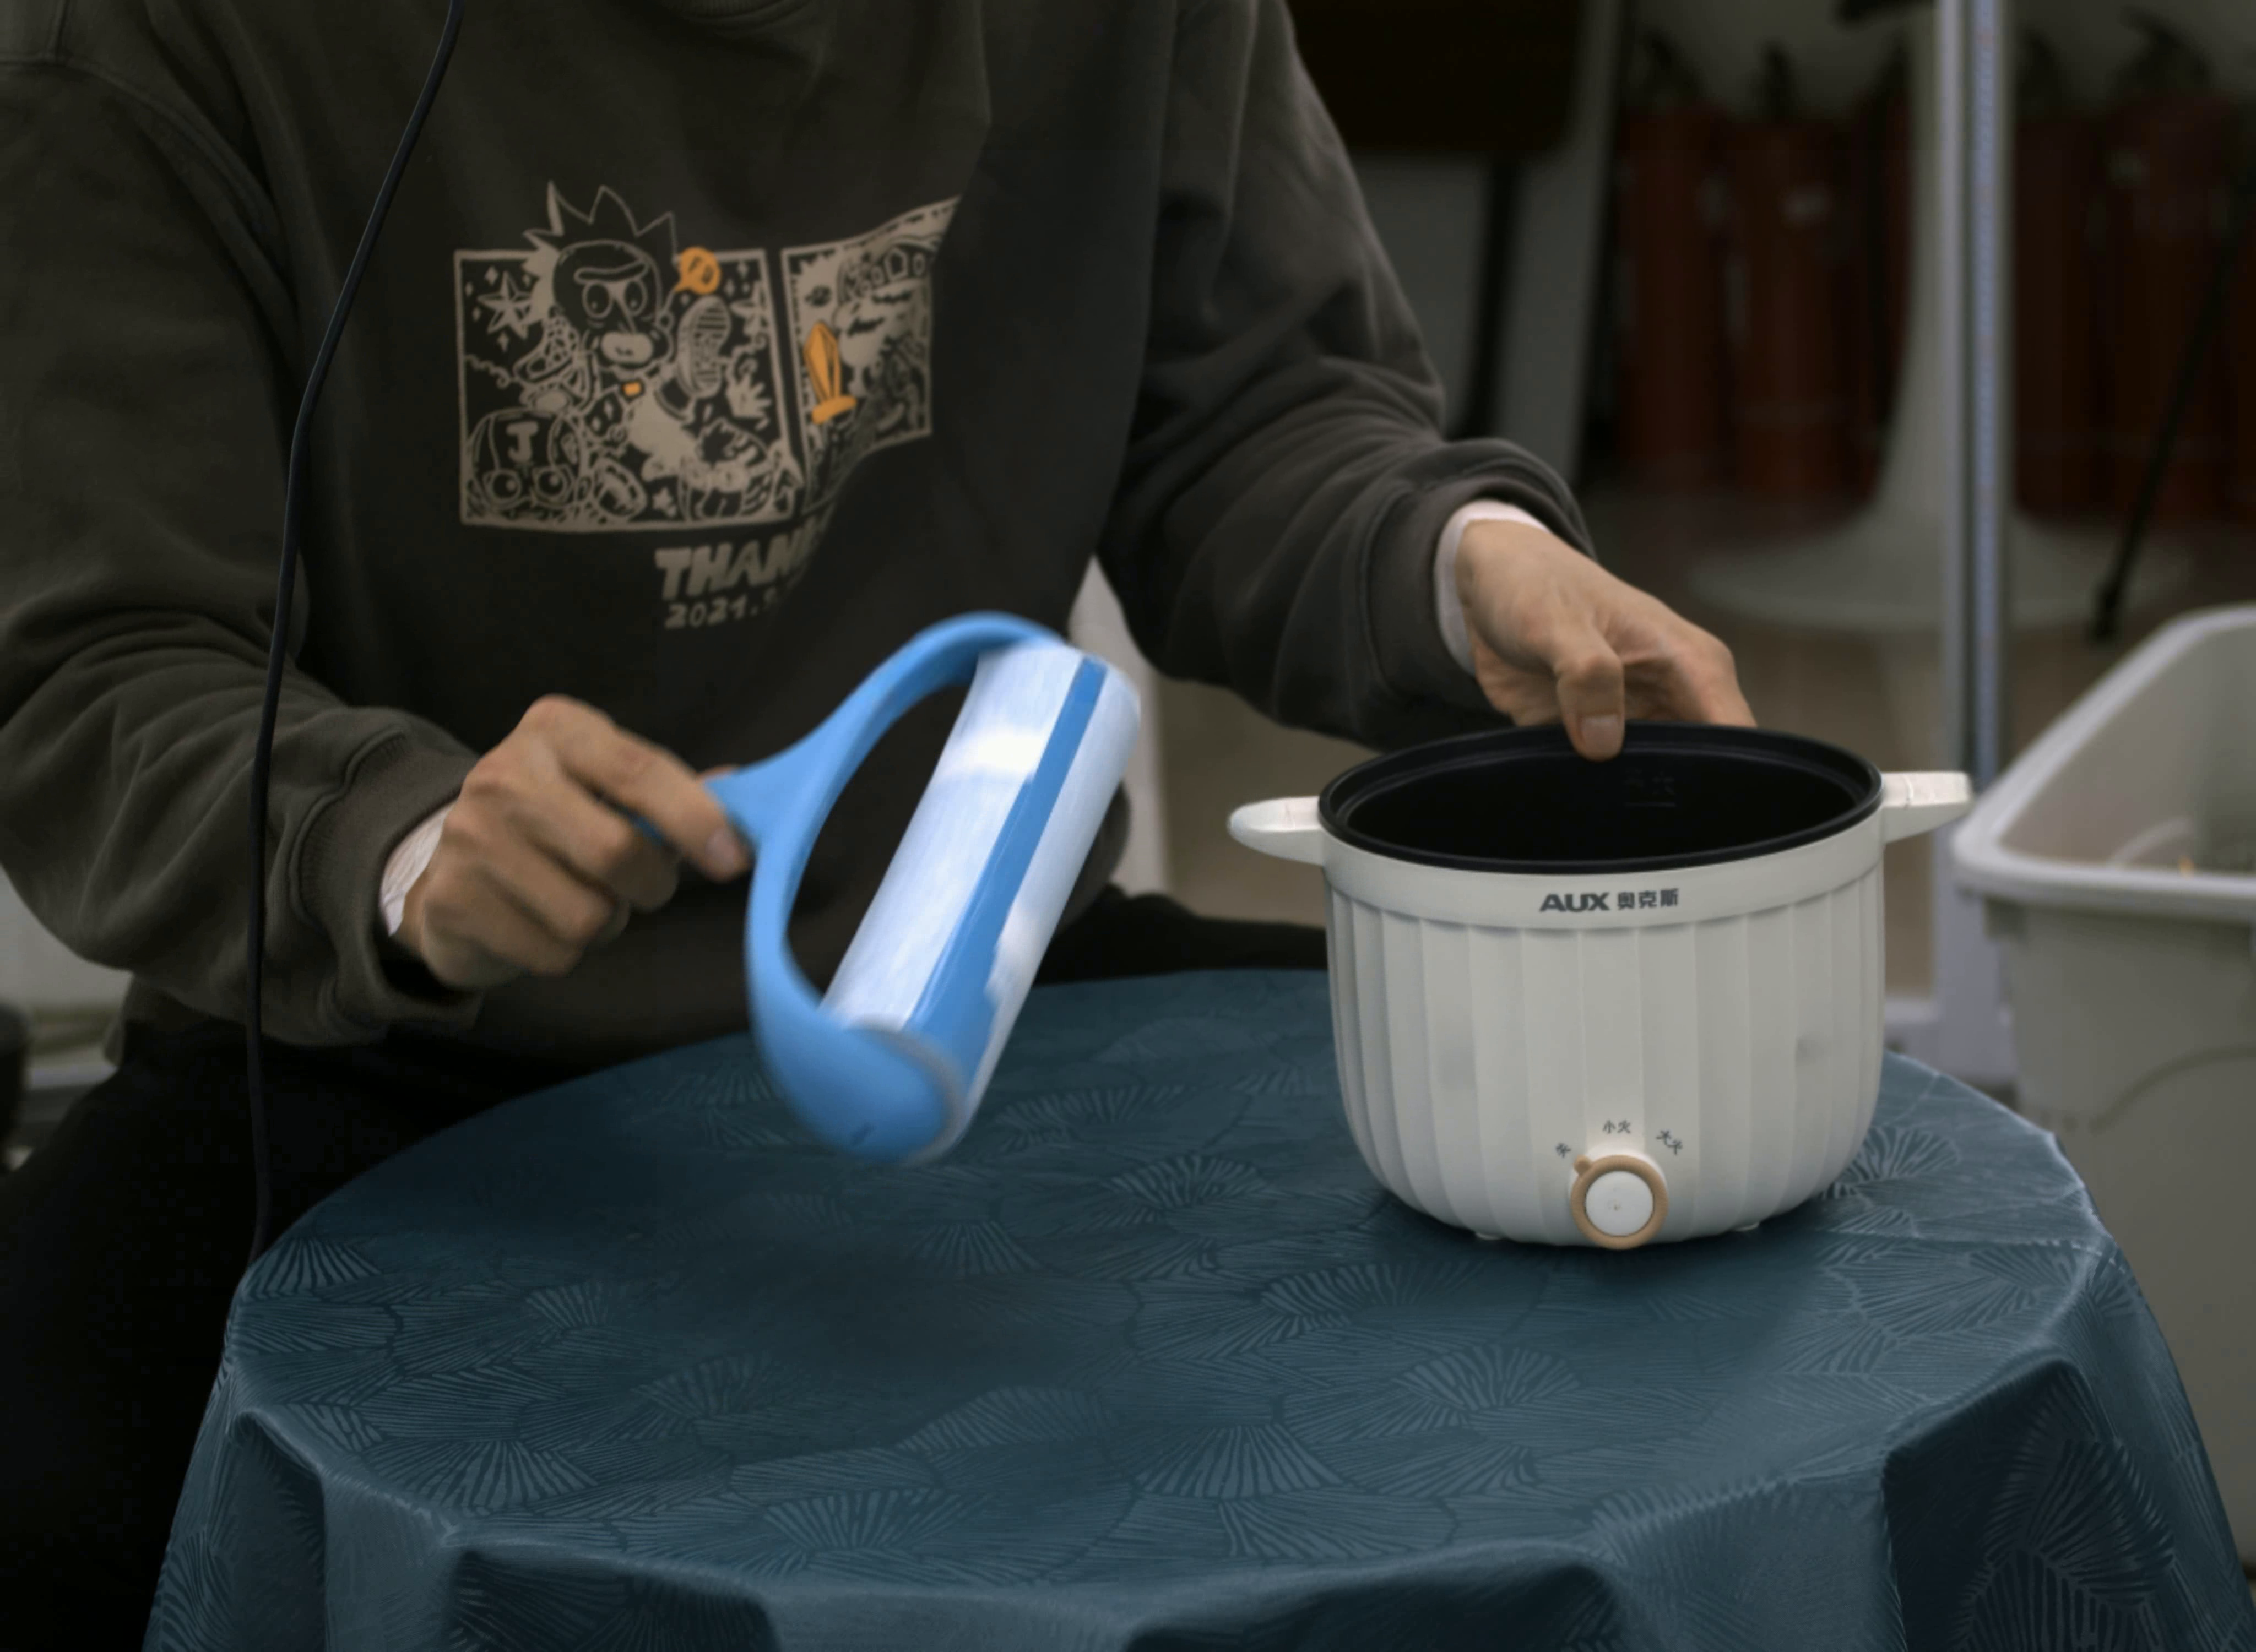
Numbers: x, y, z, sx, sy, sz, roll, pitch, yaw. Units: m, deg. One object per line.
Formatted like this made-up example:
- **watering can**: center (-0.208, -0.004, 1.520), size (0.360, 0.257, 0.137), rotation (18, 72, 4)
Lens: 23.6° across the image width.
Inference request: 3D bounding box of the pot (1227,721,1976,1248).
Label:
- **pot**: center (0.155, 0.053, 1.715), size (0.238, 0.144, 0.190), rotation (-4, 10, 5)

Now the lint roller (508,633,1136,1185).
- **lint roller**: center (-0.106, 0.019, 1.618), size (0.179, 0.068, 0.229), rotation (5, 39, 14)
